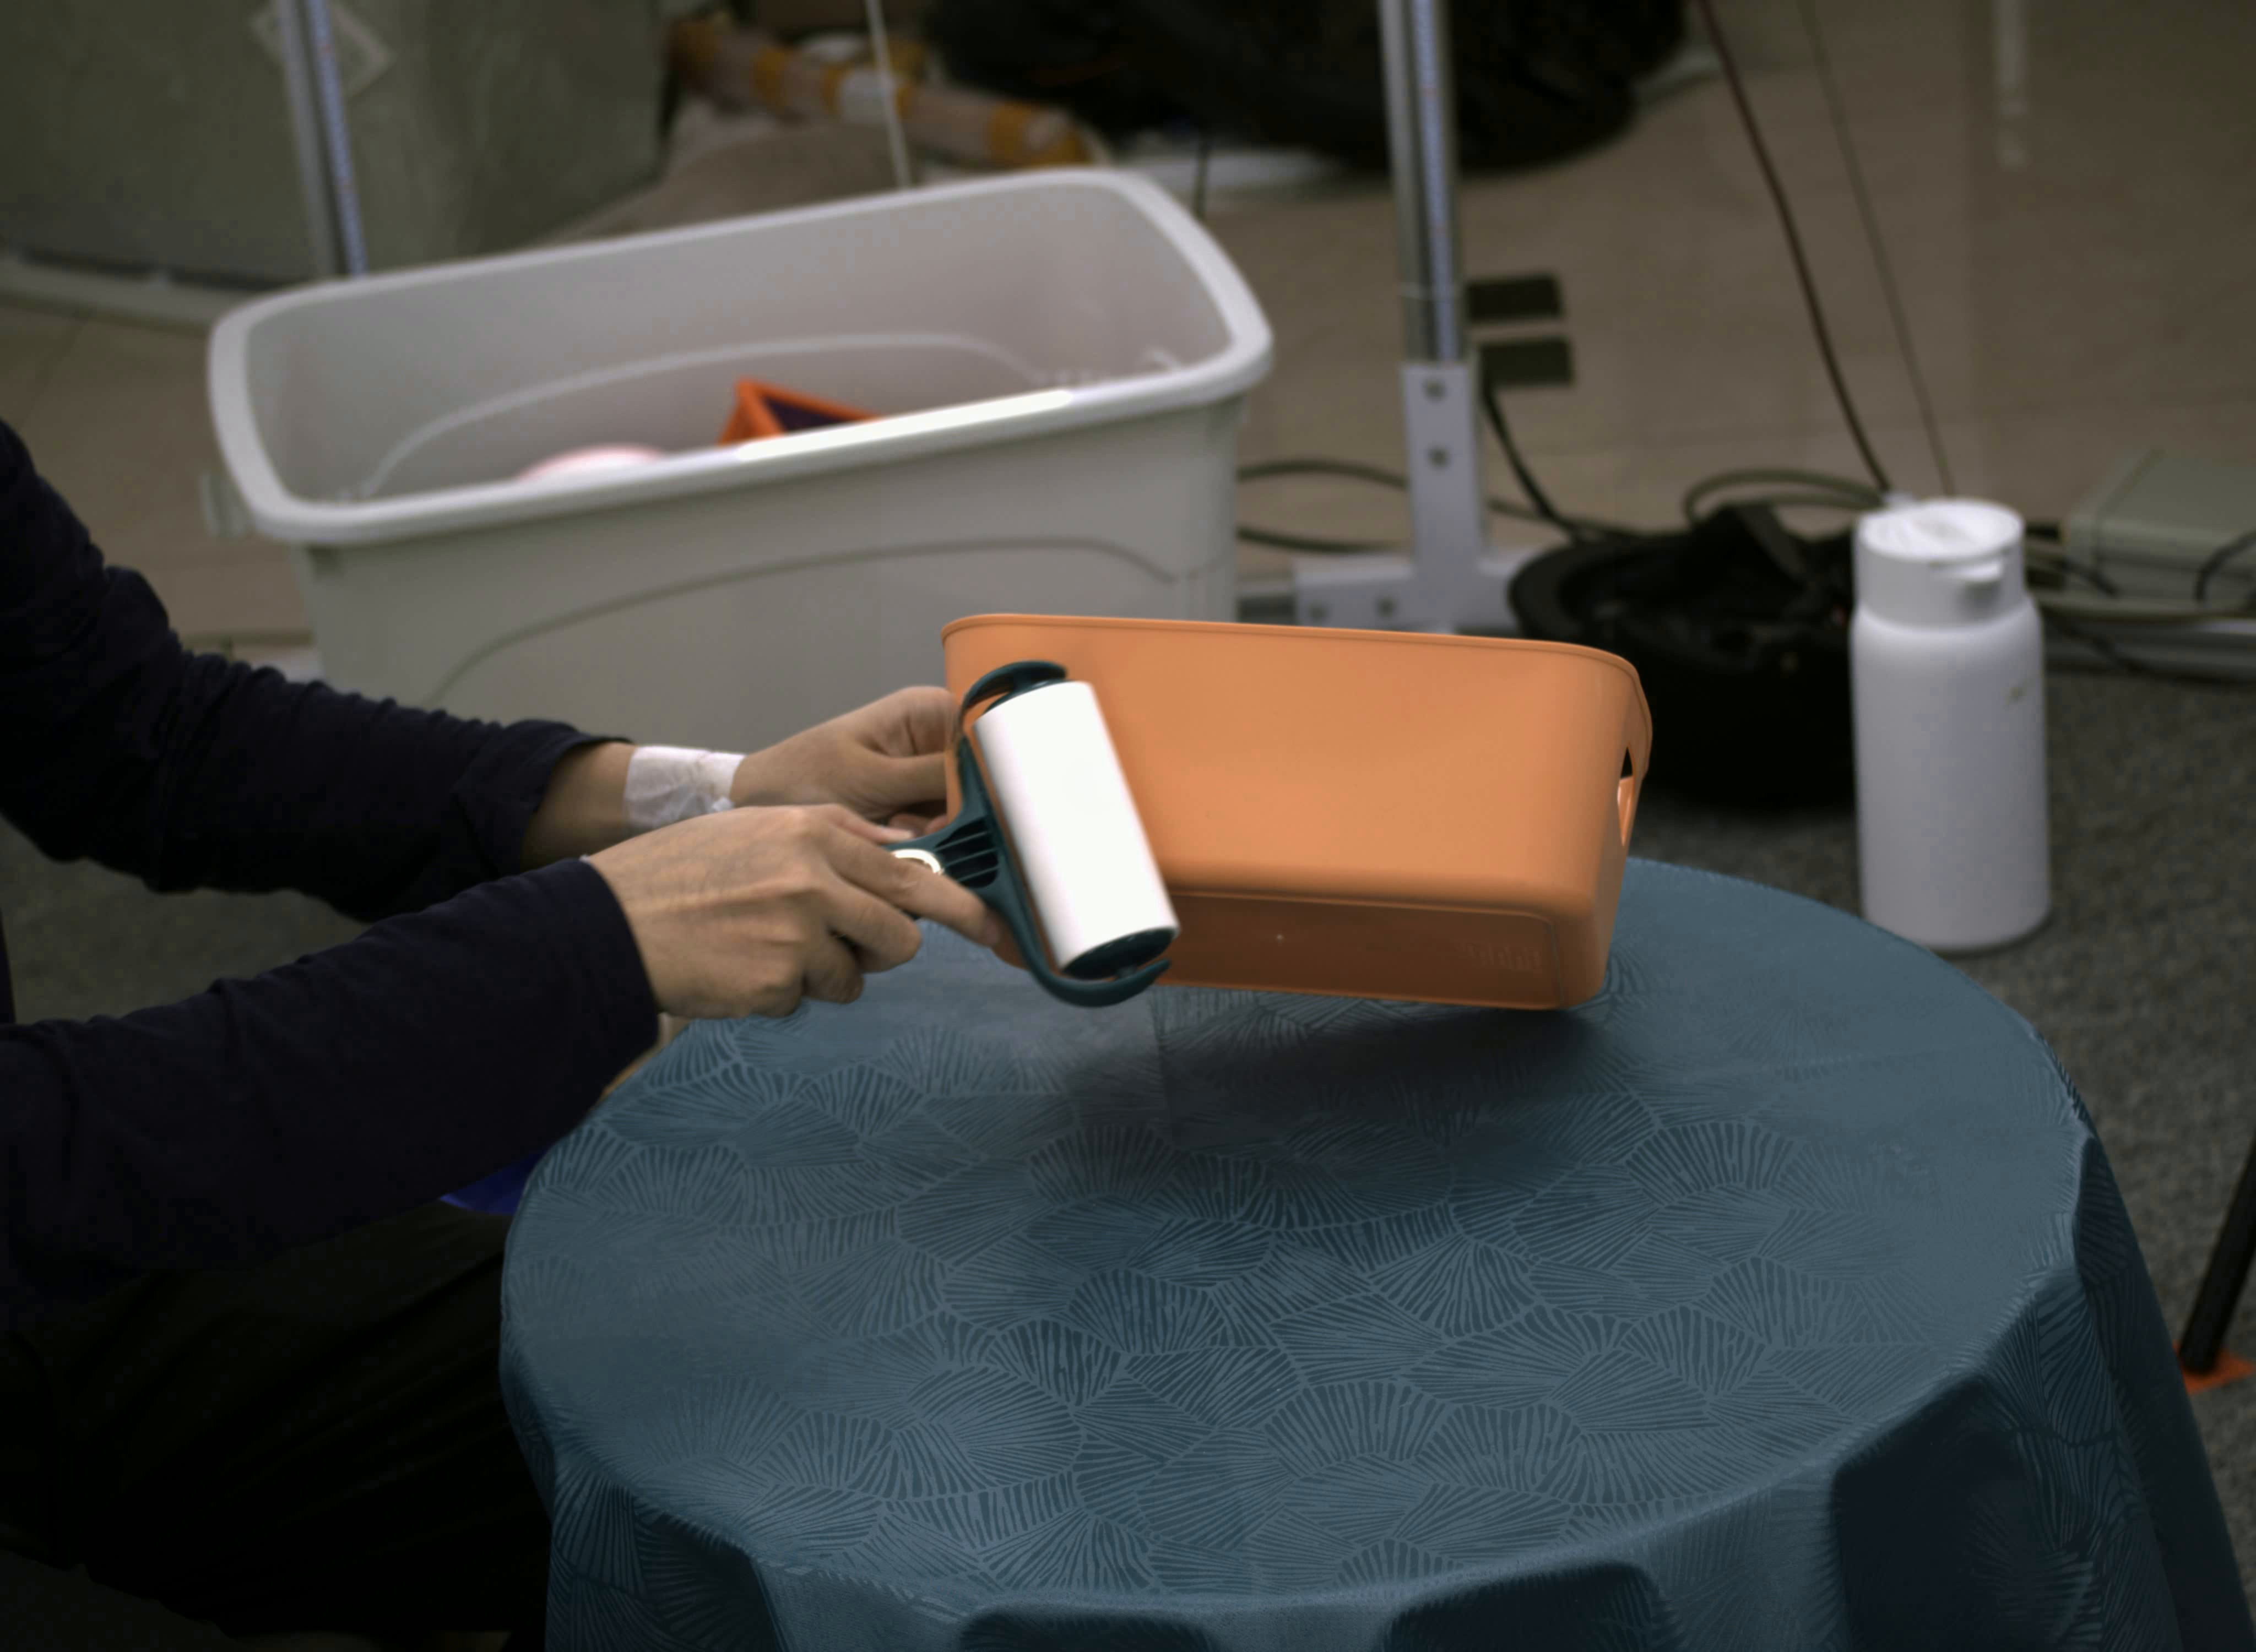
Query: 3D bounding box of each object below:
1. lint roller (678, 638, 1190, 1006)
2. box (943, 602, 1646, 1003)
[{"bbox_3d":[-0.078,0.018,2.073,0.179,0.133,0.049,-17,-12,-15],"label":"lint roller"},{"bbox_3d":[0.062,-0.005,2.196,0.272,0.102,0.201,3,-16,7],"label":"box"}]
